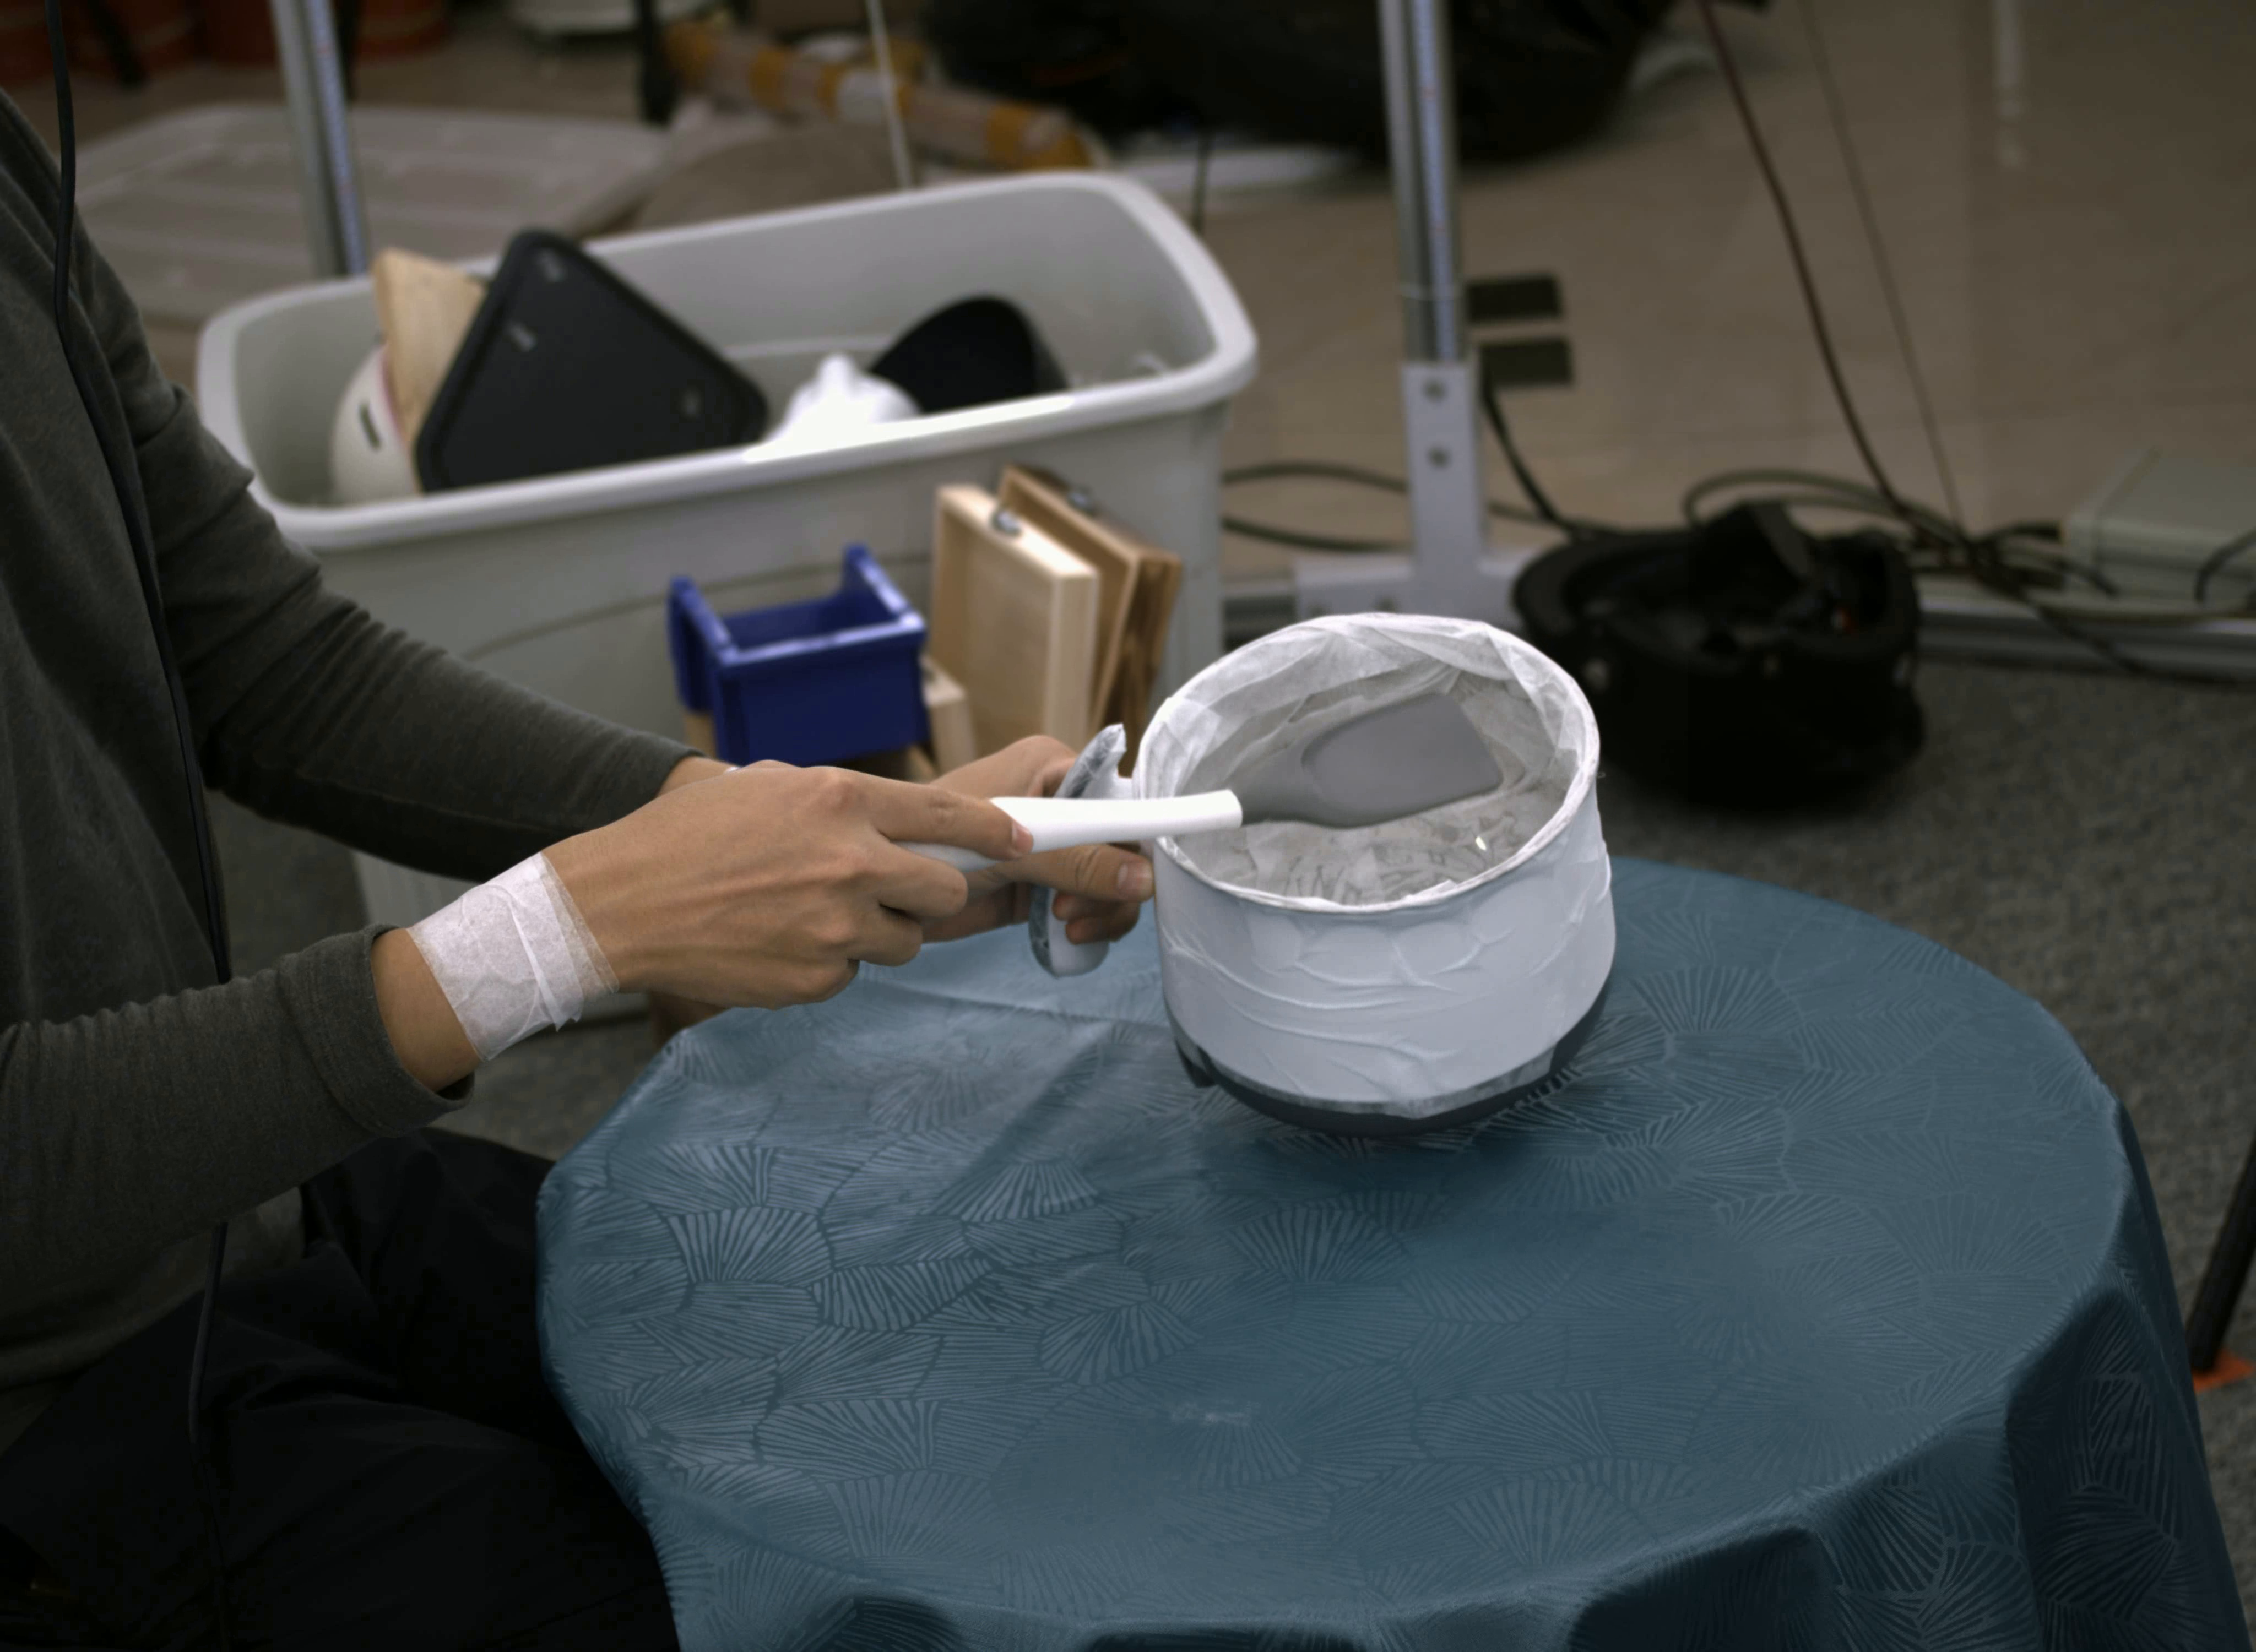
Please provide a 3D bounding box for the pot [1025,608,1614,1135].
[{"bbox_3d":[0.070,0.019,2.181,0.233,0.139,0.175,5,42,14],"label":"pot"}]

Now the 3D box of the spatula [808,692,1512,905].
[{"bbox_3d":[0.014,-0.007,2.070,0.286,0.033,0.058,-9,52,-32],"label":"spatula"}]
